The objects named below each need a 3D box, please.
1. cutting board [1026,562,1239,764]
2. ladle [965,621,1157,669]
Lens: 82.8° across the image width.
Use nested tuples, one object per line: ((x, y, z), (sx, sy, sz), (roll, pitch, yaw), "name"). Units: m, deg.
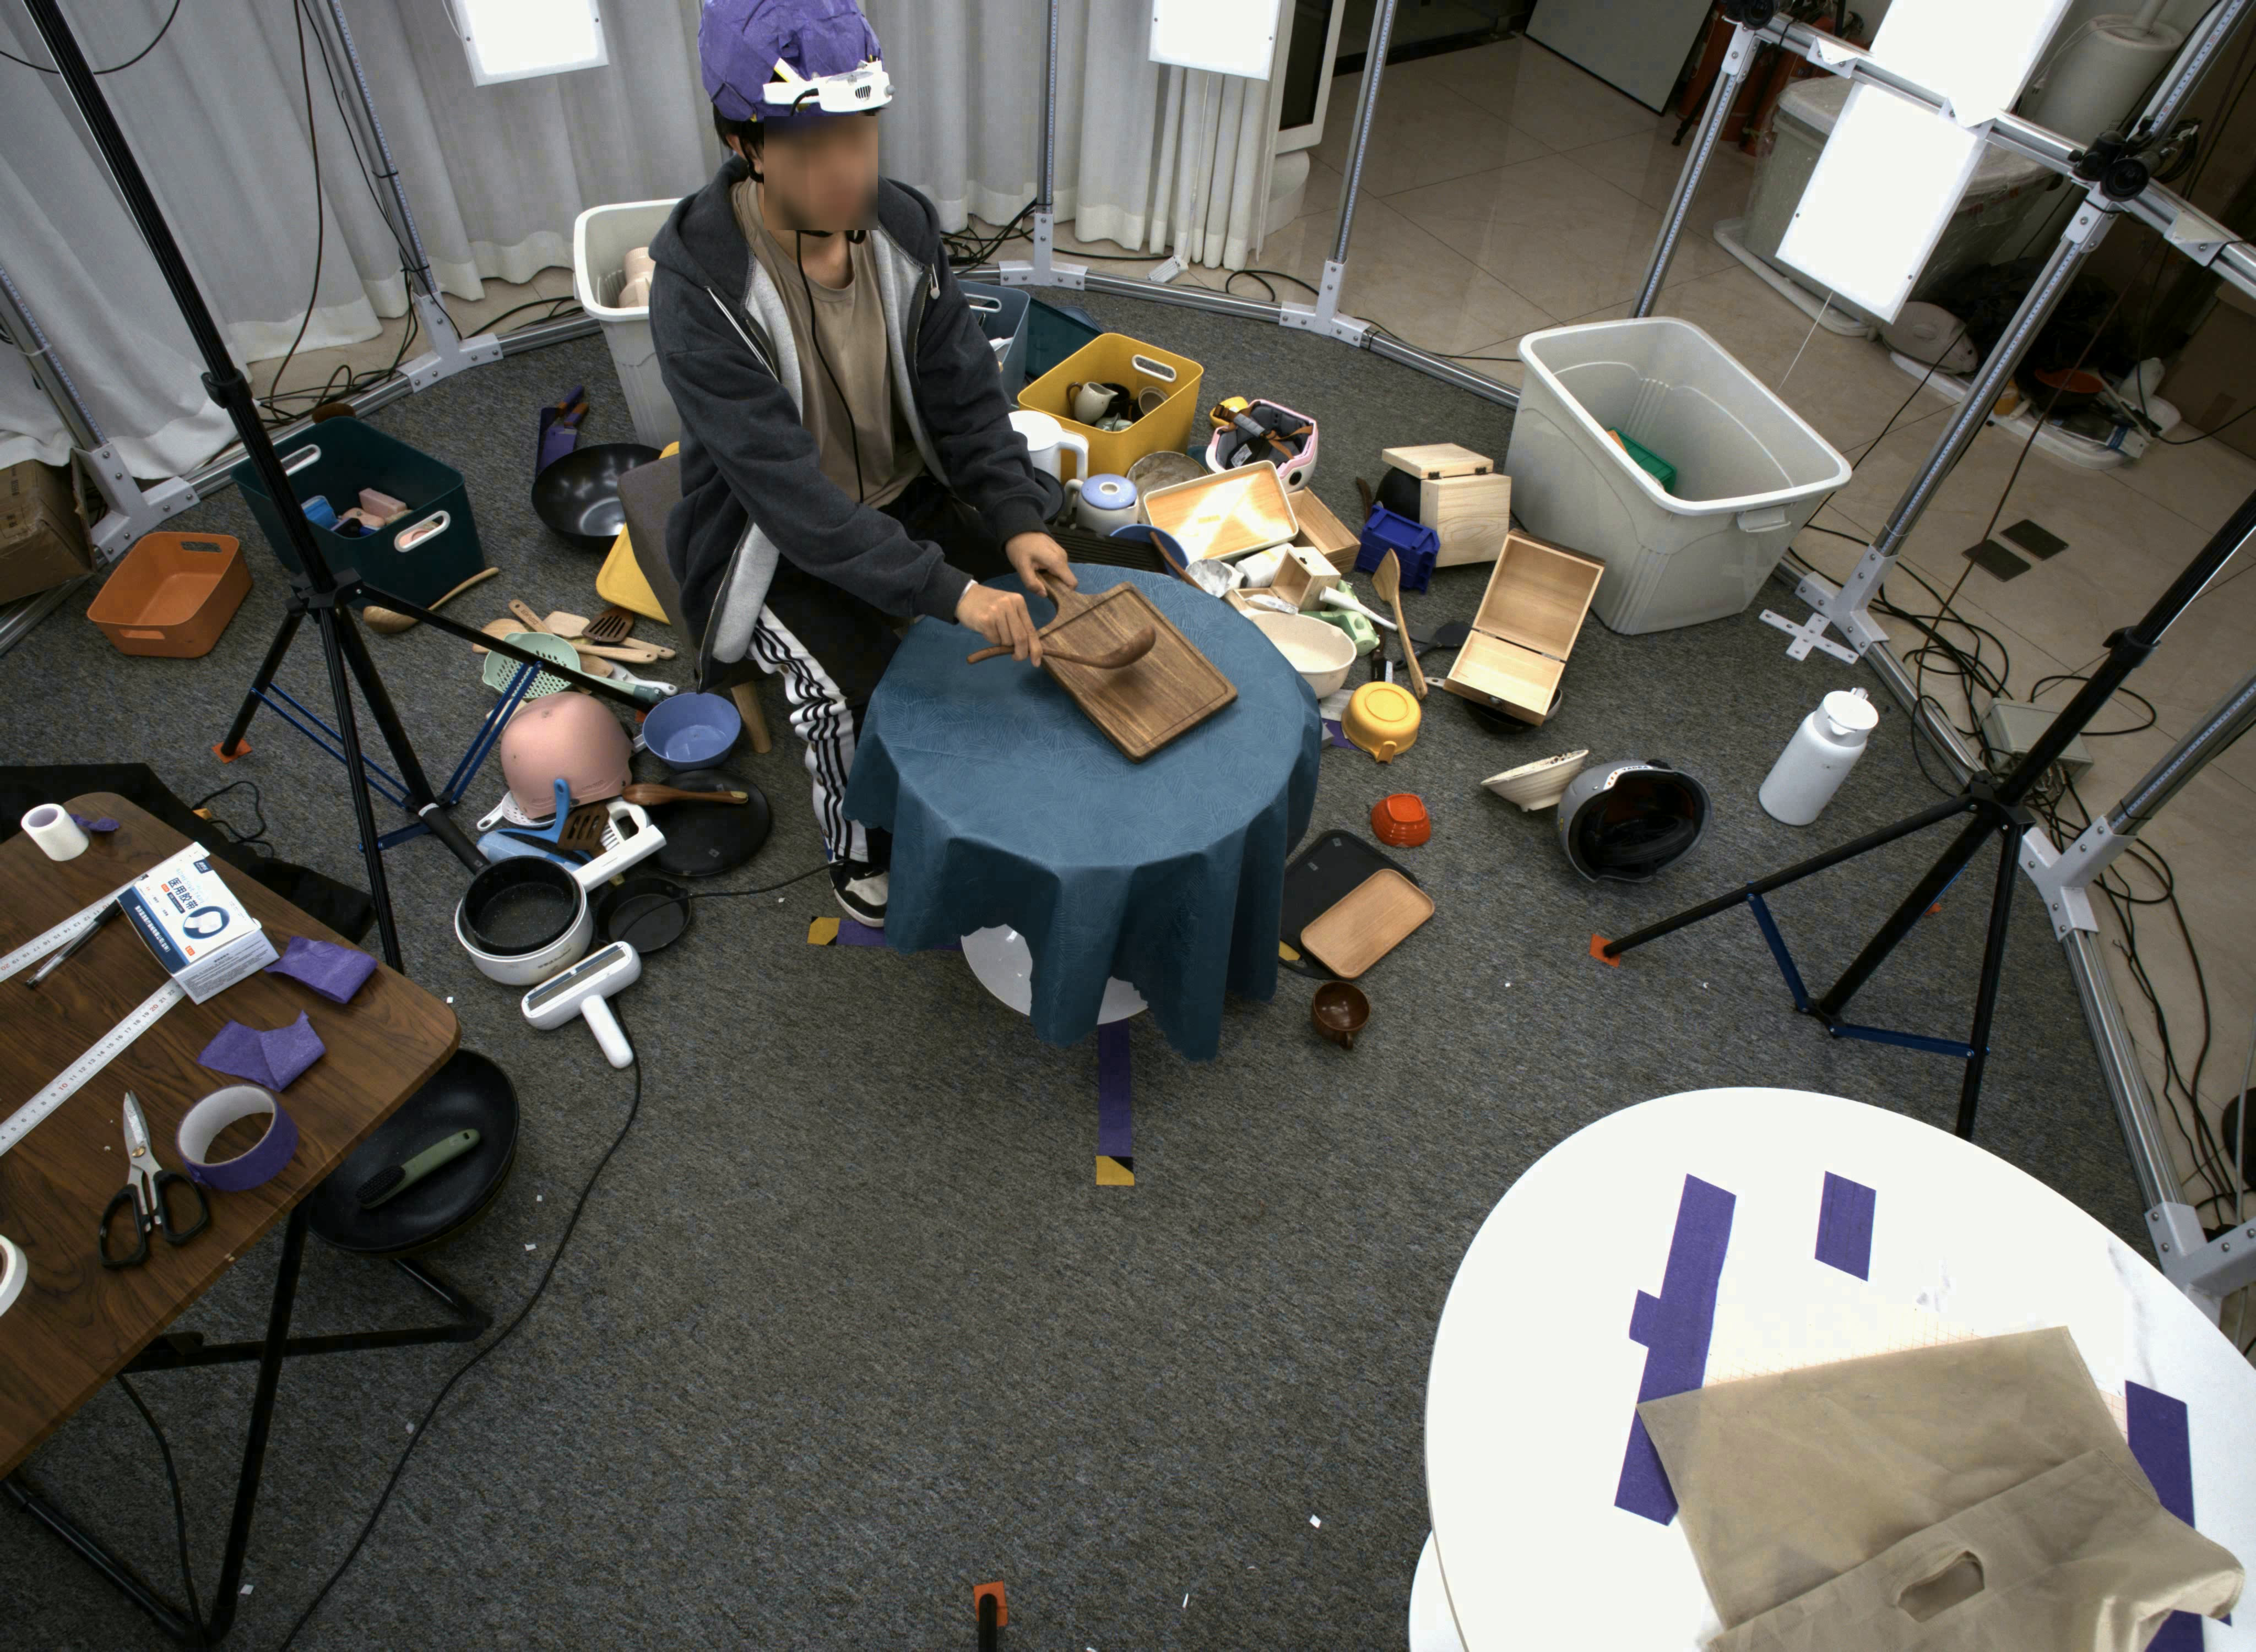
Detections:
((-0.025, -0.257, 1.831), (0.202, 0.023, 0.357), (-33, 68, -26), "cutting board")
((-0.090, -0.249, 1.747), (0.260, 0.076, 0.065), (1, 83, -6), "ladle")
